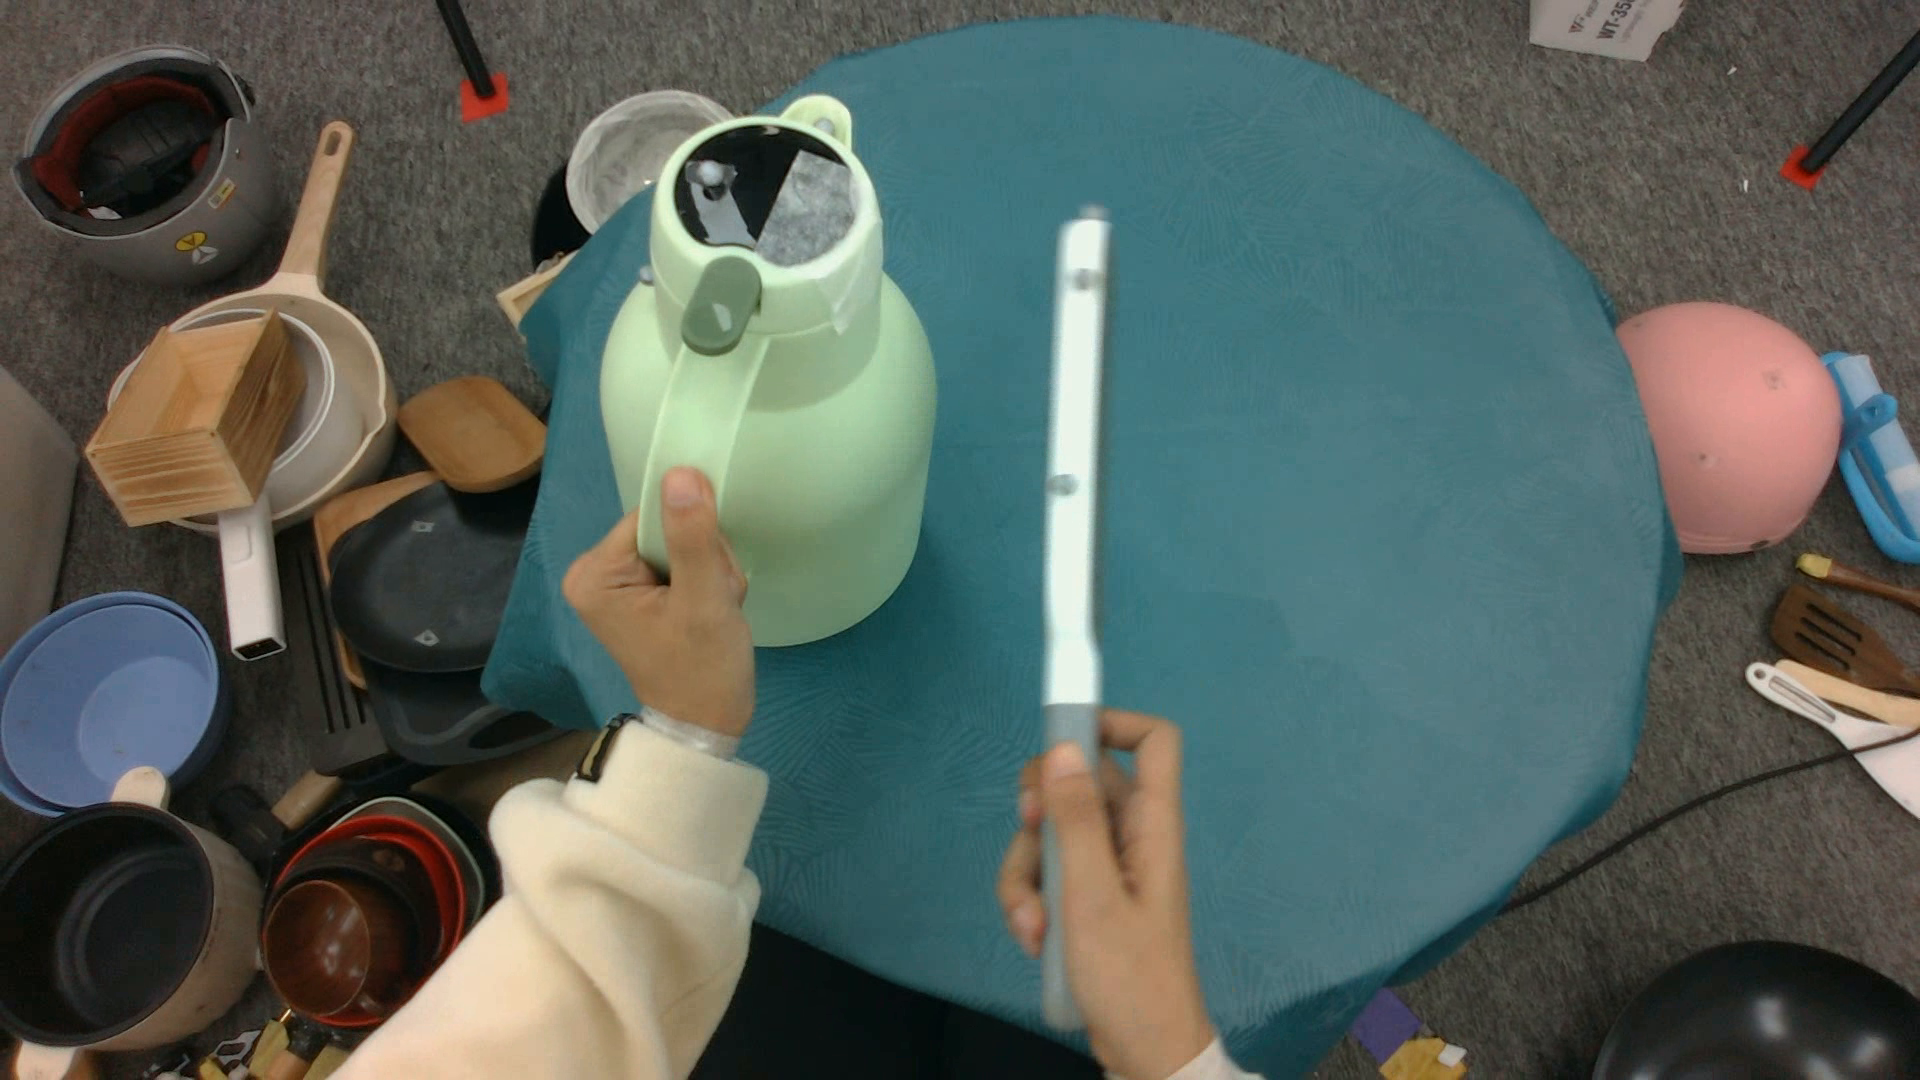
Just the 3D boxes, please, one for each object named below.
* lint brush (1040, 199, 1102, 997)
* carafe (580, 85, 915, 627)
[{"bbox_3d":[0.043,0.013,0.528,0.021,0.060,0.309,-2,75,9],"label":"lint brush"},{"bbox_3d":[-0.093,-0.057,0.581,0.144,0.255,0.187,17,66,-1],"label":"carafe"}]
